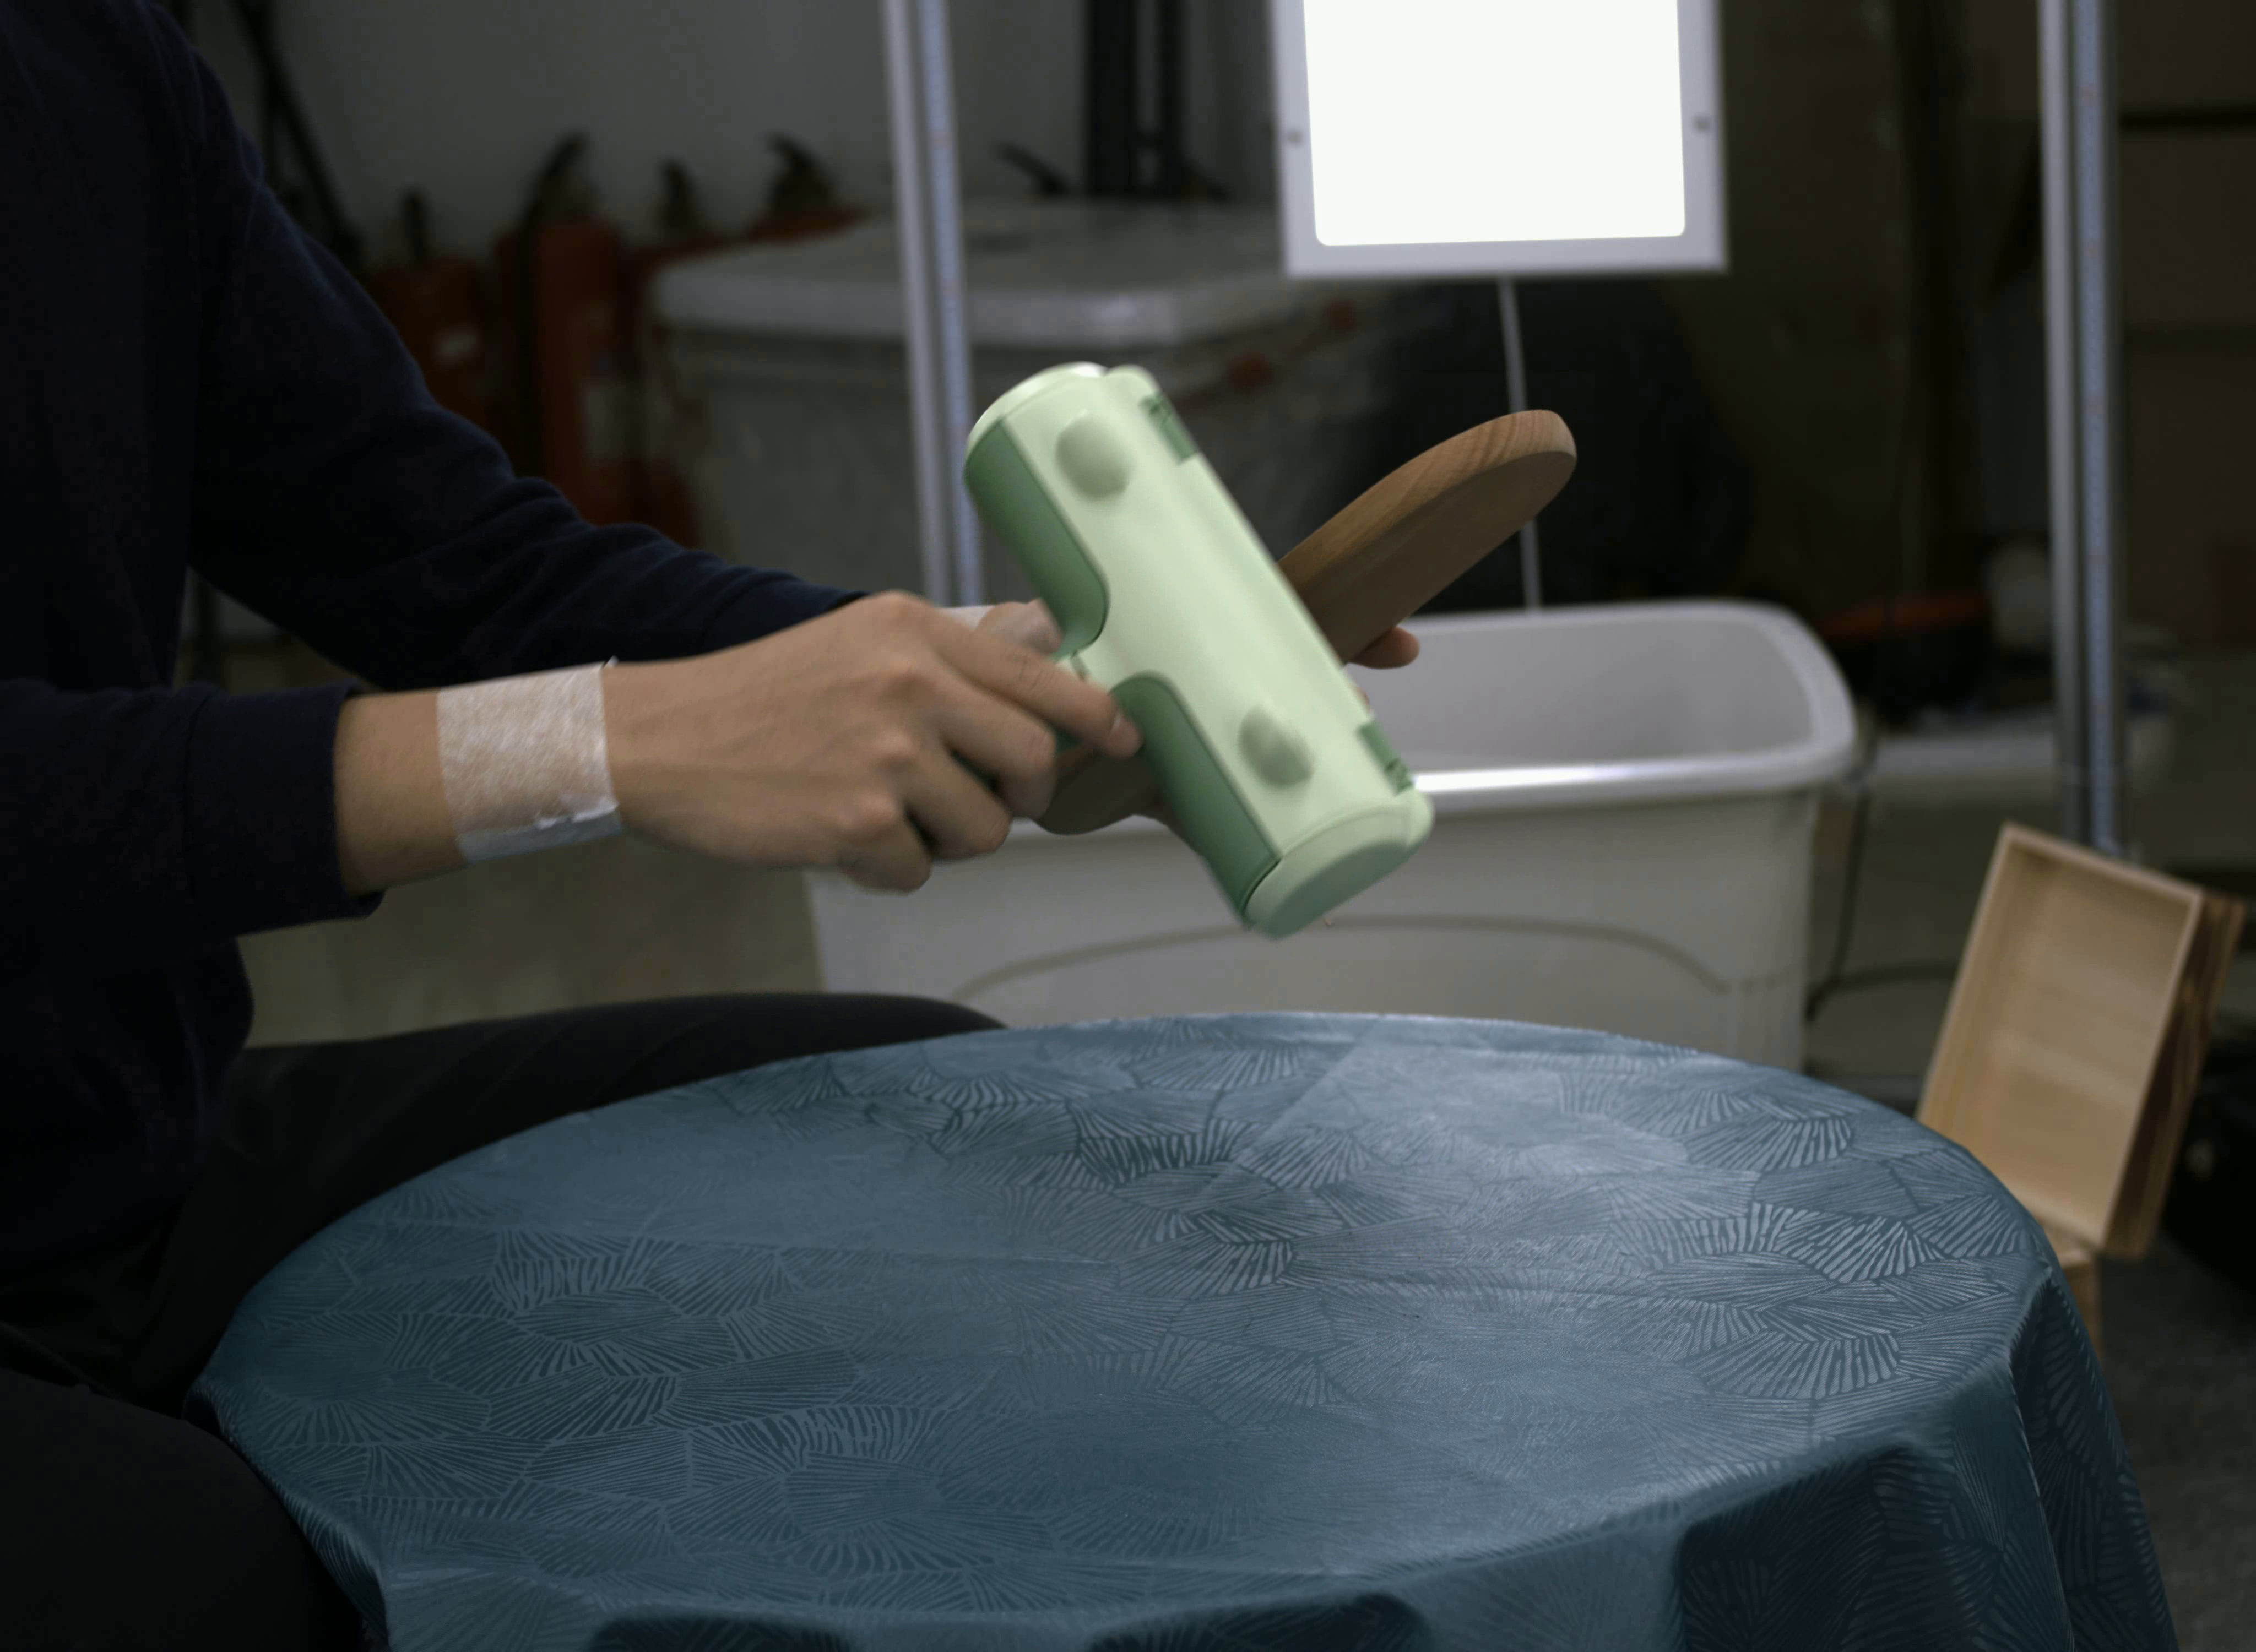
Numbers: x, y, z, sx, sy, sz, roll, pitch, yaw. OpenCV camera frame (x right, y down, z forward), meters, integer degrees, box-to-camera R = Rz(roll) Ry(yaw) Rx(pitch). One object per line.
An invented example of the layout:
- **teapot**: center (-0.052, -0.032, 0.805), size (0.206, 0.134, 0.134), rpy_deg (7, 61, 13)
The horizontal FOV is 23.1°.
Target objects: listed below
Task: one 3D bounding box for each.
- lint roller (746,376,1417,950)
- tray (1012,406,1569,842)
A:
- **lint roller**: center (-0.032, -0.041, 1.689), size (0.179, 0.083, 0.200), rpy_deg (-20, 64, -26)
- **tray**: center (0.054, -0.064, 1.827), size (0.235, 0.020, 0.099), rpy_deg (-40, -19, 25)
